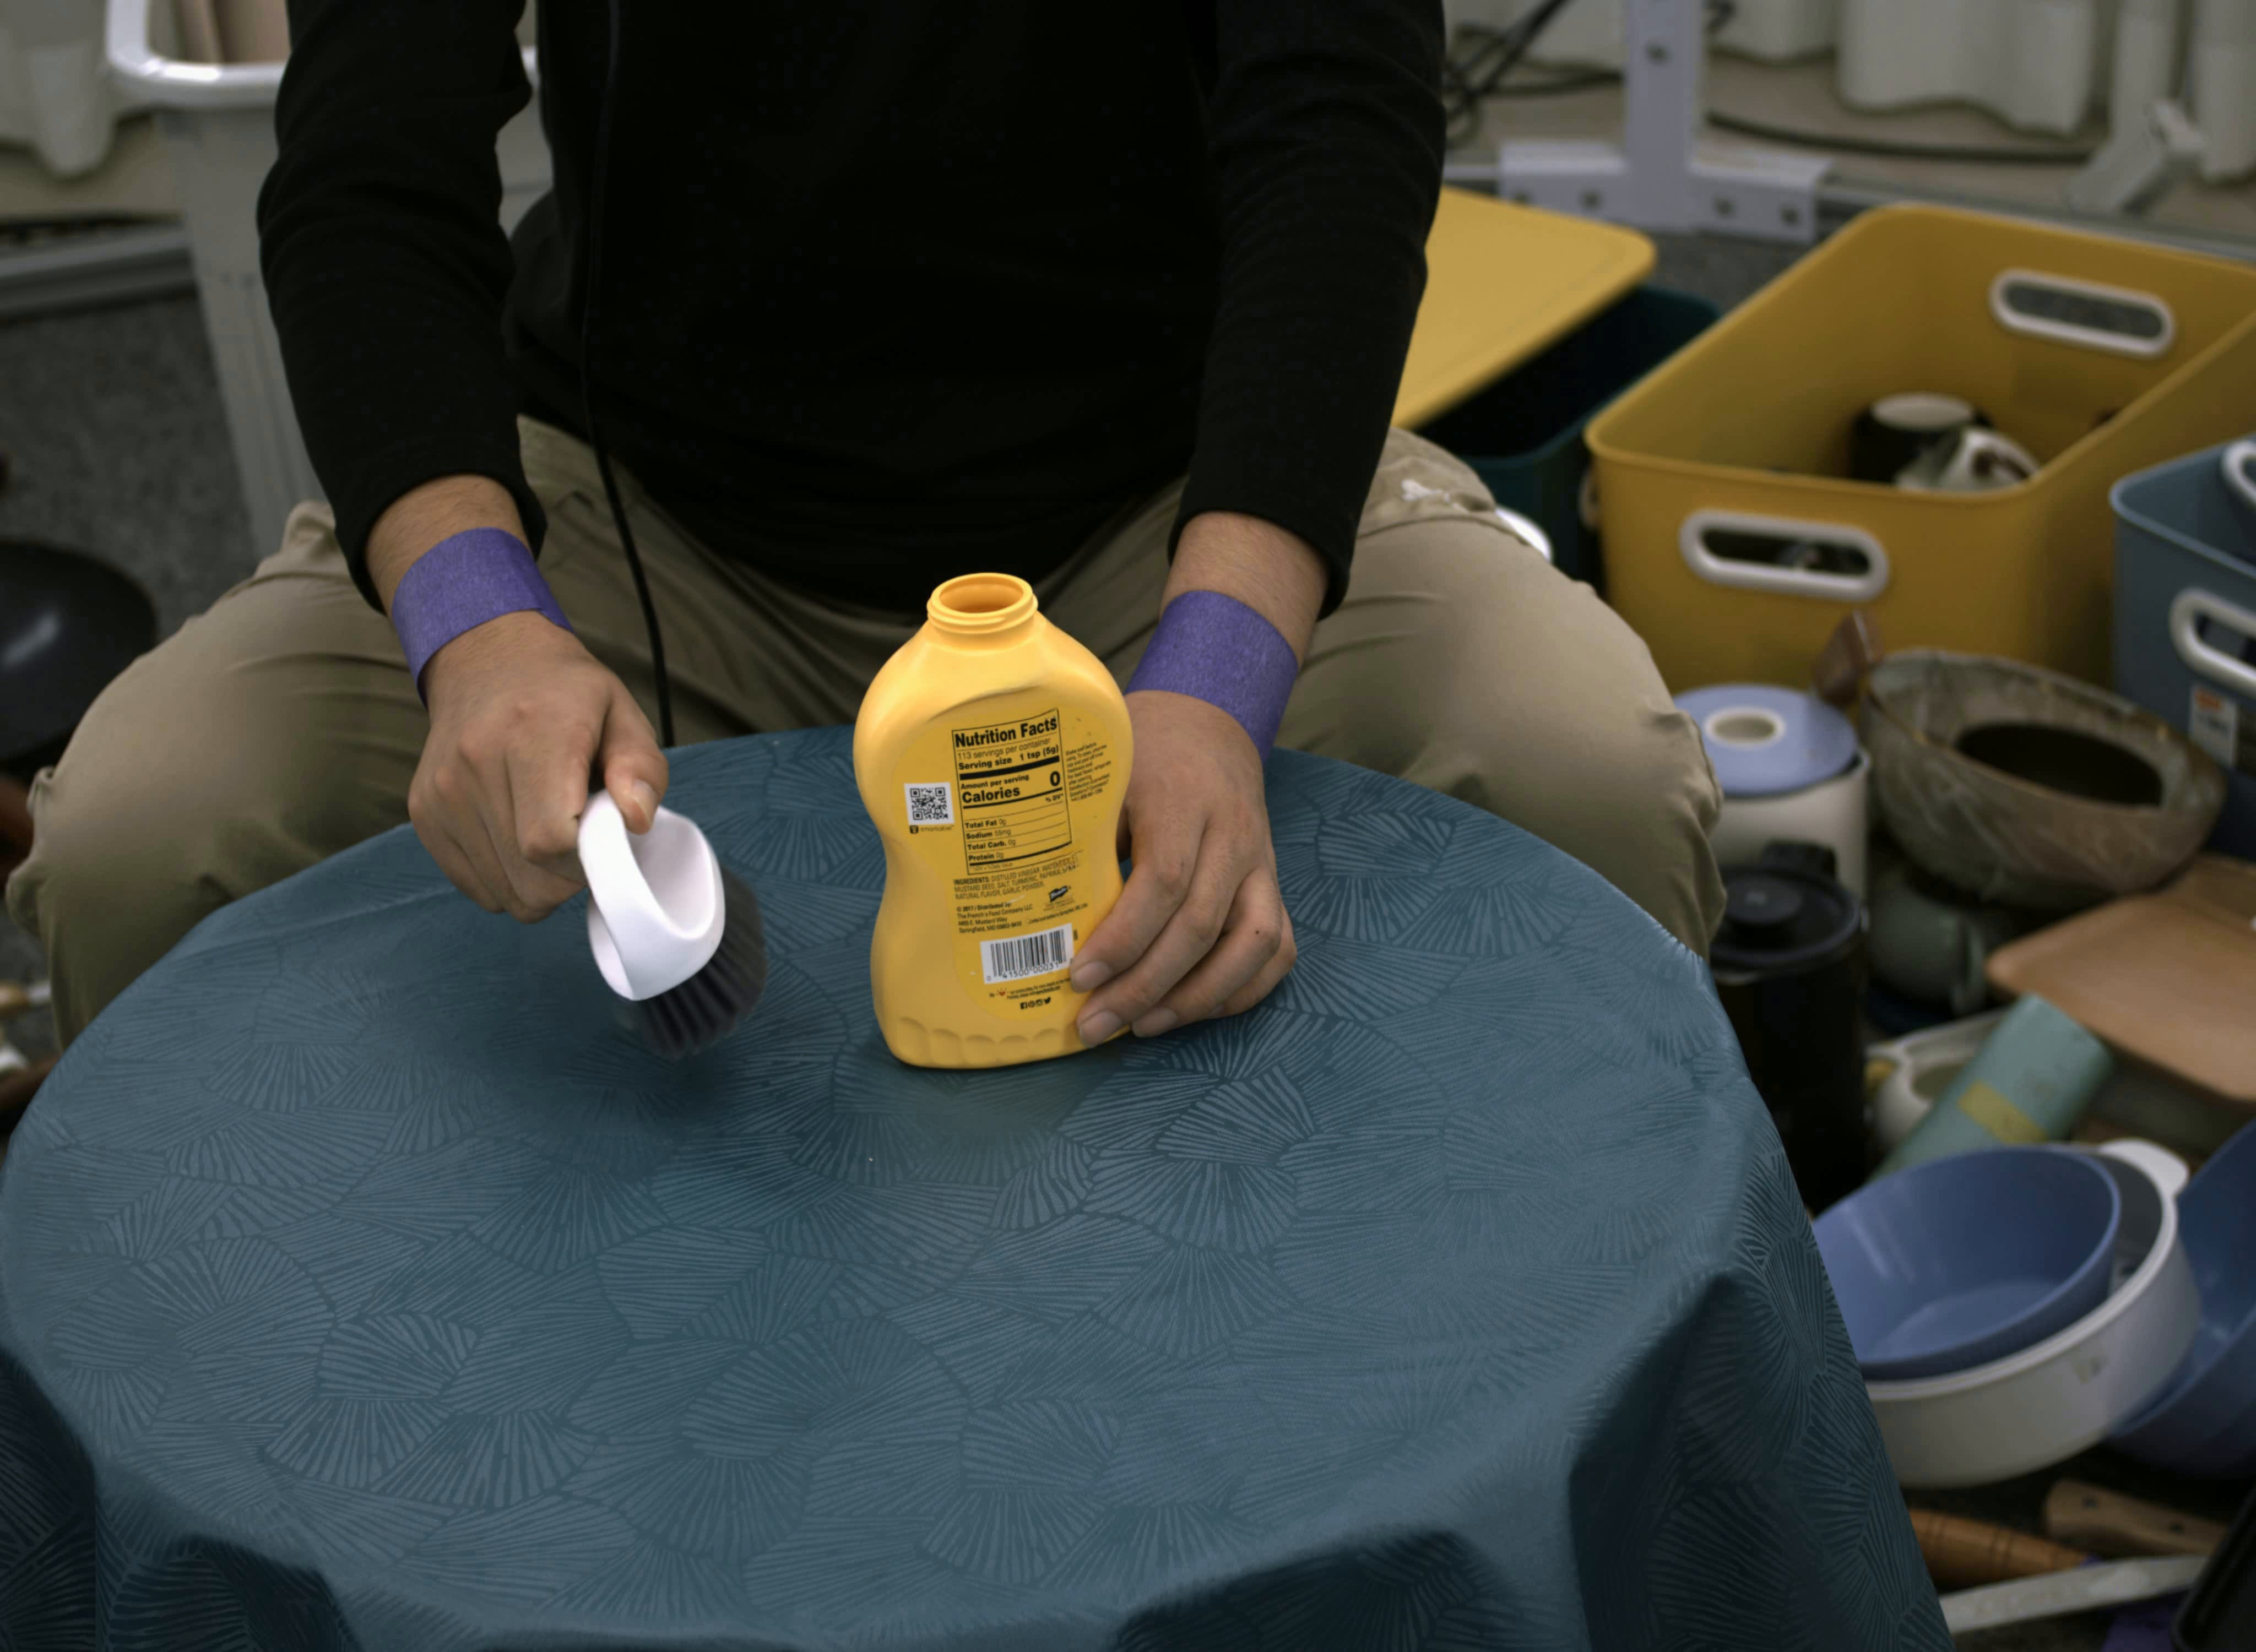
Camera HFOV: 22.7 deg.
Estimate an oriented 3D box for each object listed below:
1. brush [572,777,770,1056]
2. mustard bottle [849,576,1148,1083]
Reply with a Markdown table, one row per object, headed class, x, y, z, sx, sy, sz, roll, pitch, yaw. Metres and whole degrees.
| class | x | y | z | sx | sy | sz | roll | pitch | yaw |
| --- | --- | --- | --- | --- | --- | --- | --- | --- | --- |
| brush | -0.163 | 0.023 | 1.922 | 0.050 | 0.072 | 0.101 | -31 | 30 | 12 |
| mustard bottle | -0.046 | 0.000 | 1.922 | 0.098 | 0.170 | 0.060 | -12 | 23 | -14 |
